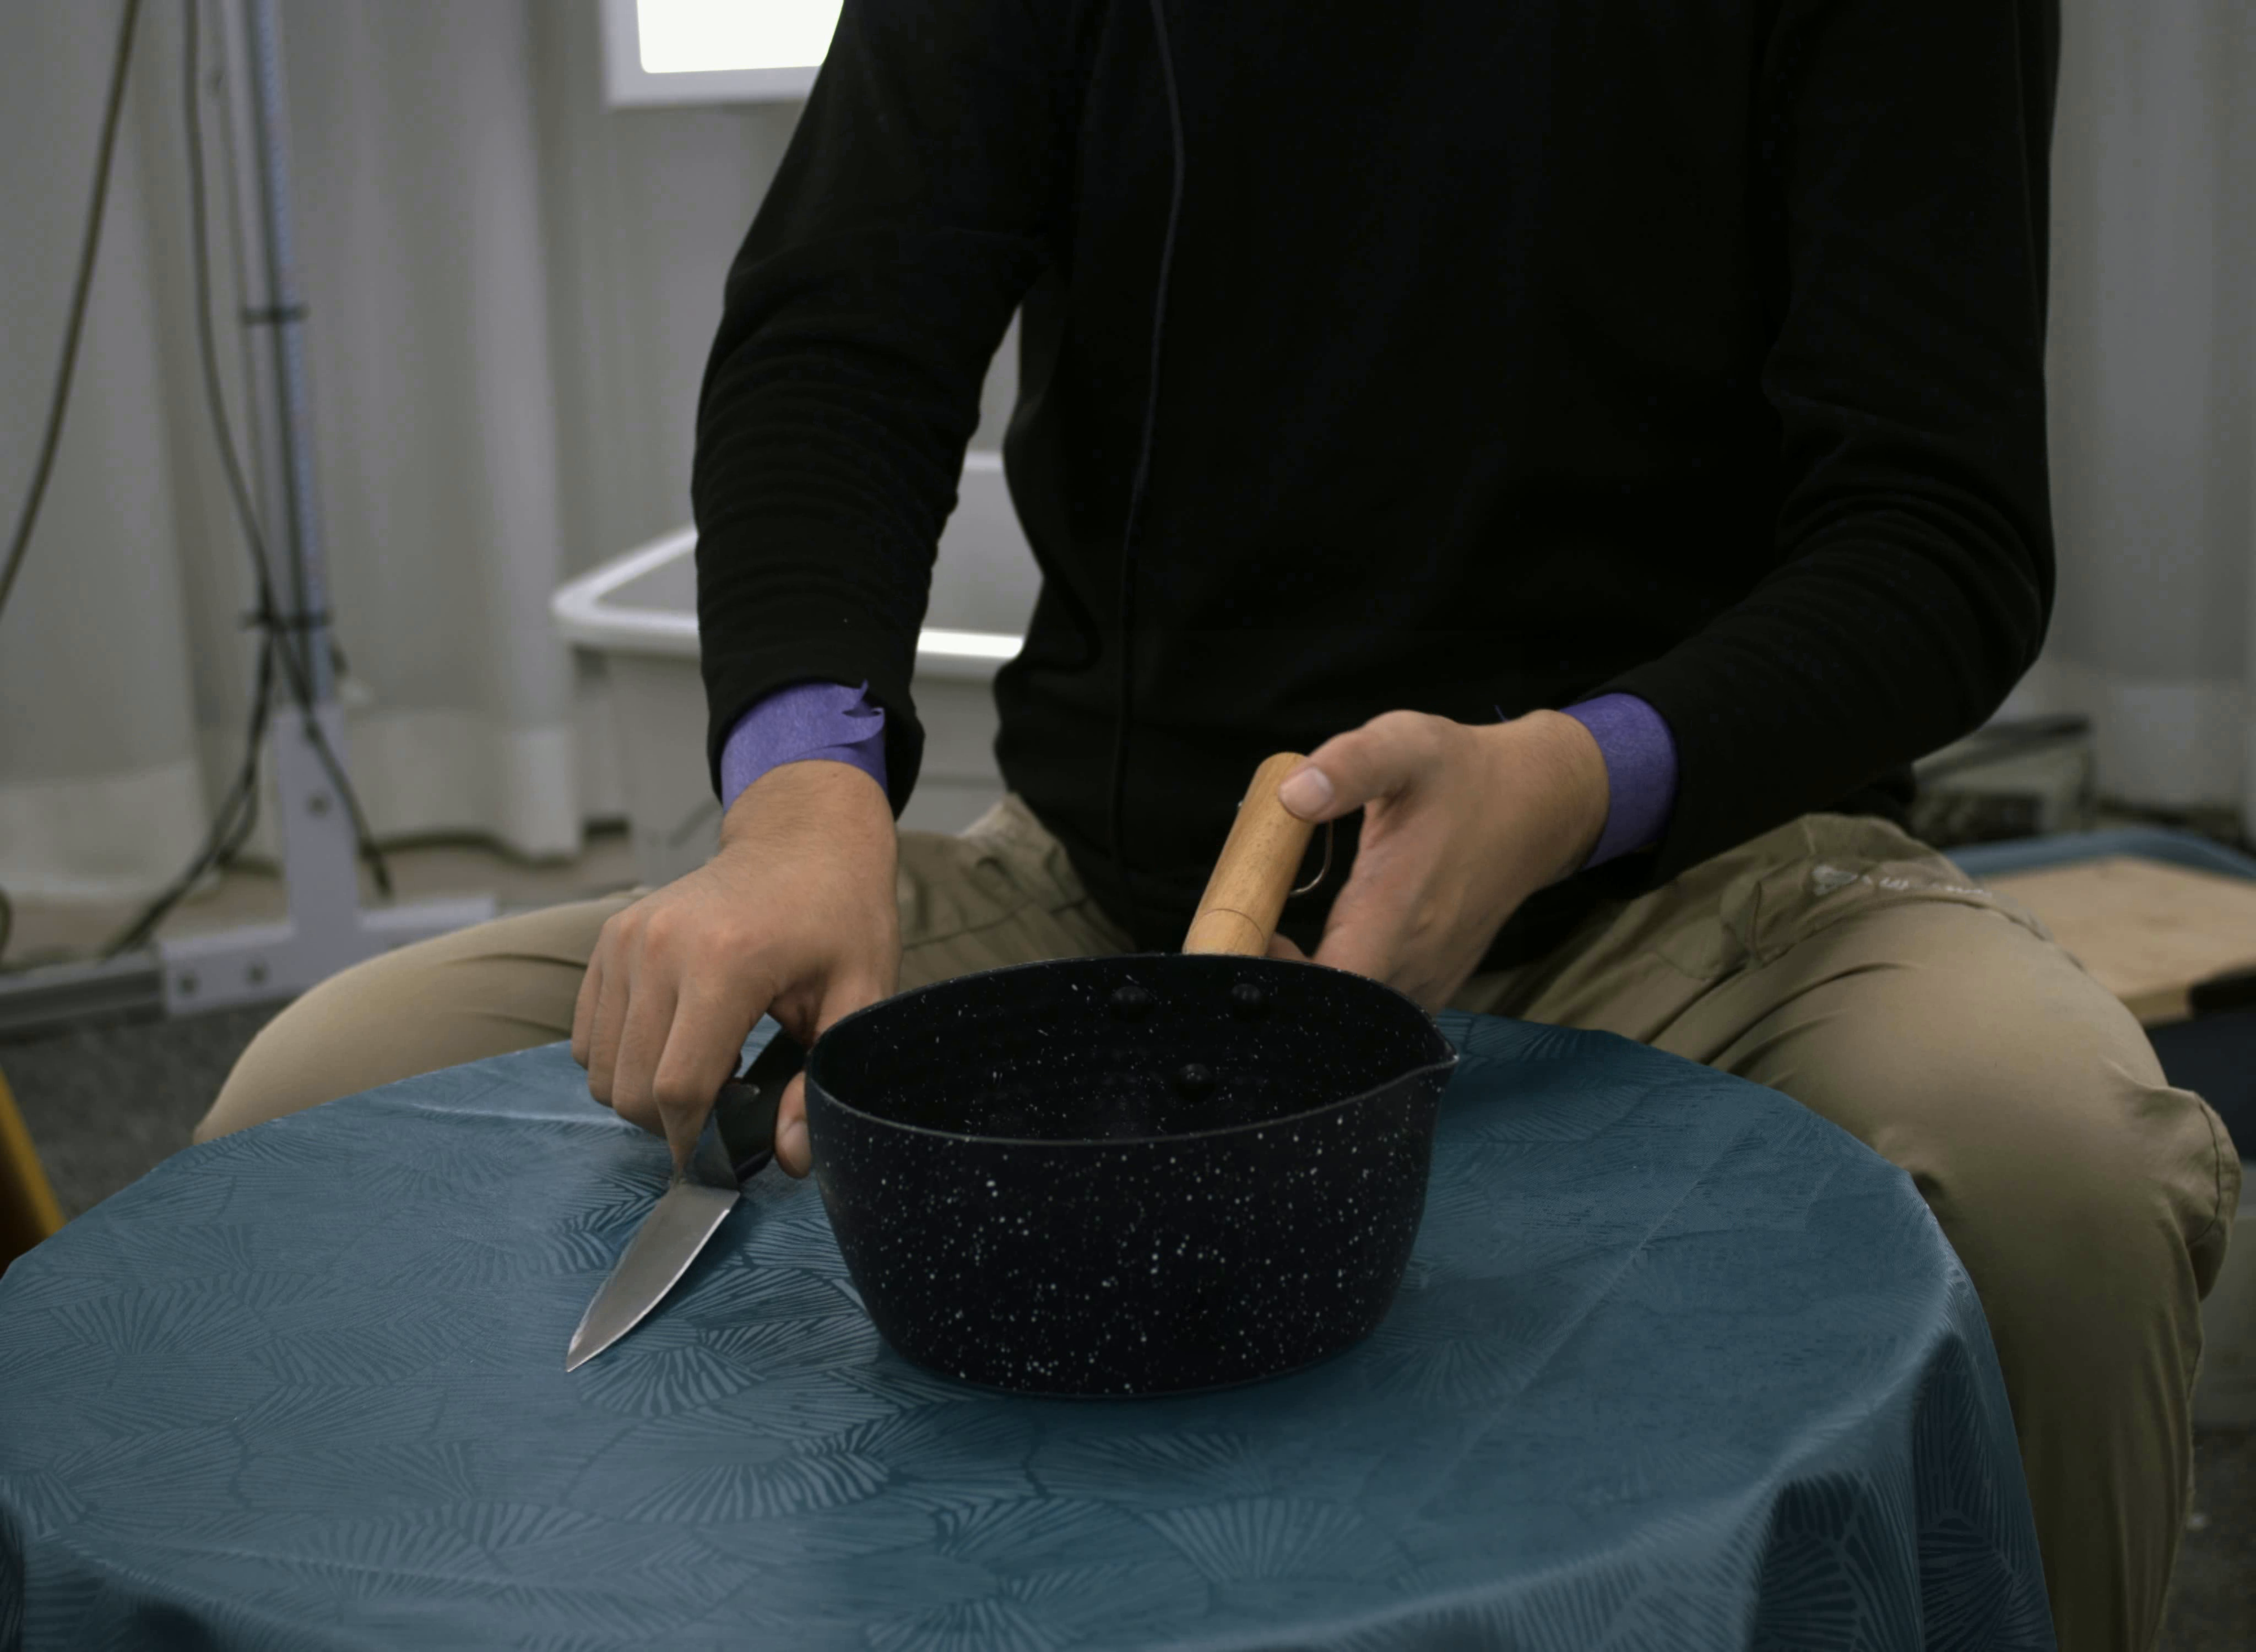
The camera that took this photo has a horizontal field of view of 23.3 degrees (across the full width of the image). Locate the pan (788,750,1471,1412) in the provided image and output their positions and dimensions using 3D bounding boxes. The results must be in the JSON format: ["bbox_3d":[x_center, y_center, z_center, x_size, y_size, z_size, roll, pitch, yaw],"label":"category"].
[{"bbox_3d":[0.016,0.072,1.667,0.207,0.108,0.344,0,16,13],"label":"pan"}]

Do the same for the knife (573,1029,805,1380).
[{"bbox_3d":[-0.134,0.115,1.689,0.024,0.016,0.240,13,24,9],"label":"knife"}]
